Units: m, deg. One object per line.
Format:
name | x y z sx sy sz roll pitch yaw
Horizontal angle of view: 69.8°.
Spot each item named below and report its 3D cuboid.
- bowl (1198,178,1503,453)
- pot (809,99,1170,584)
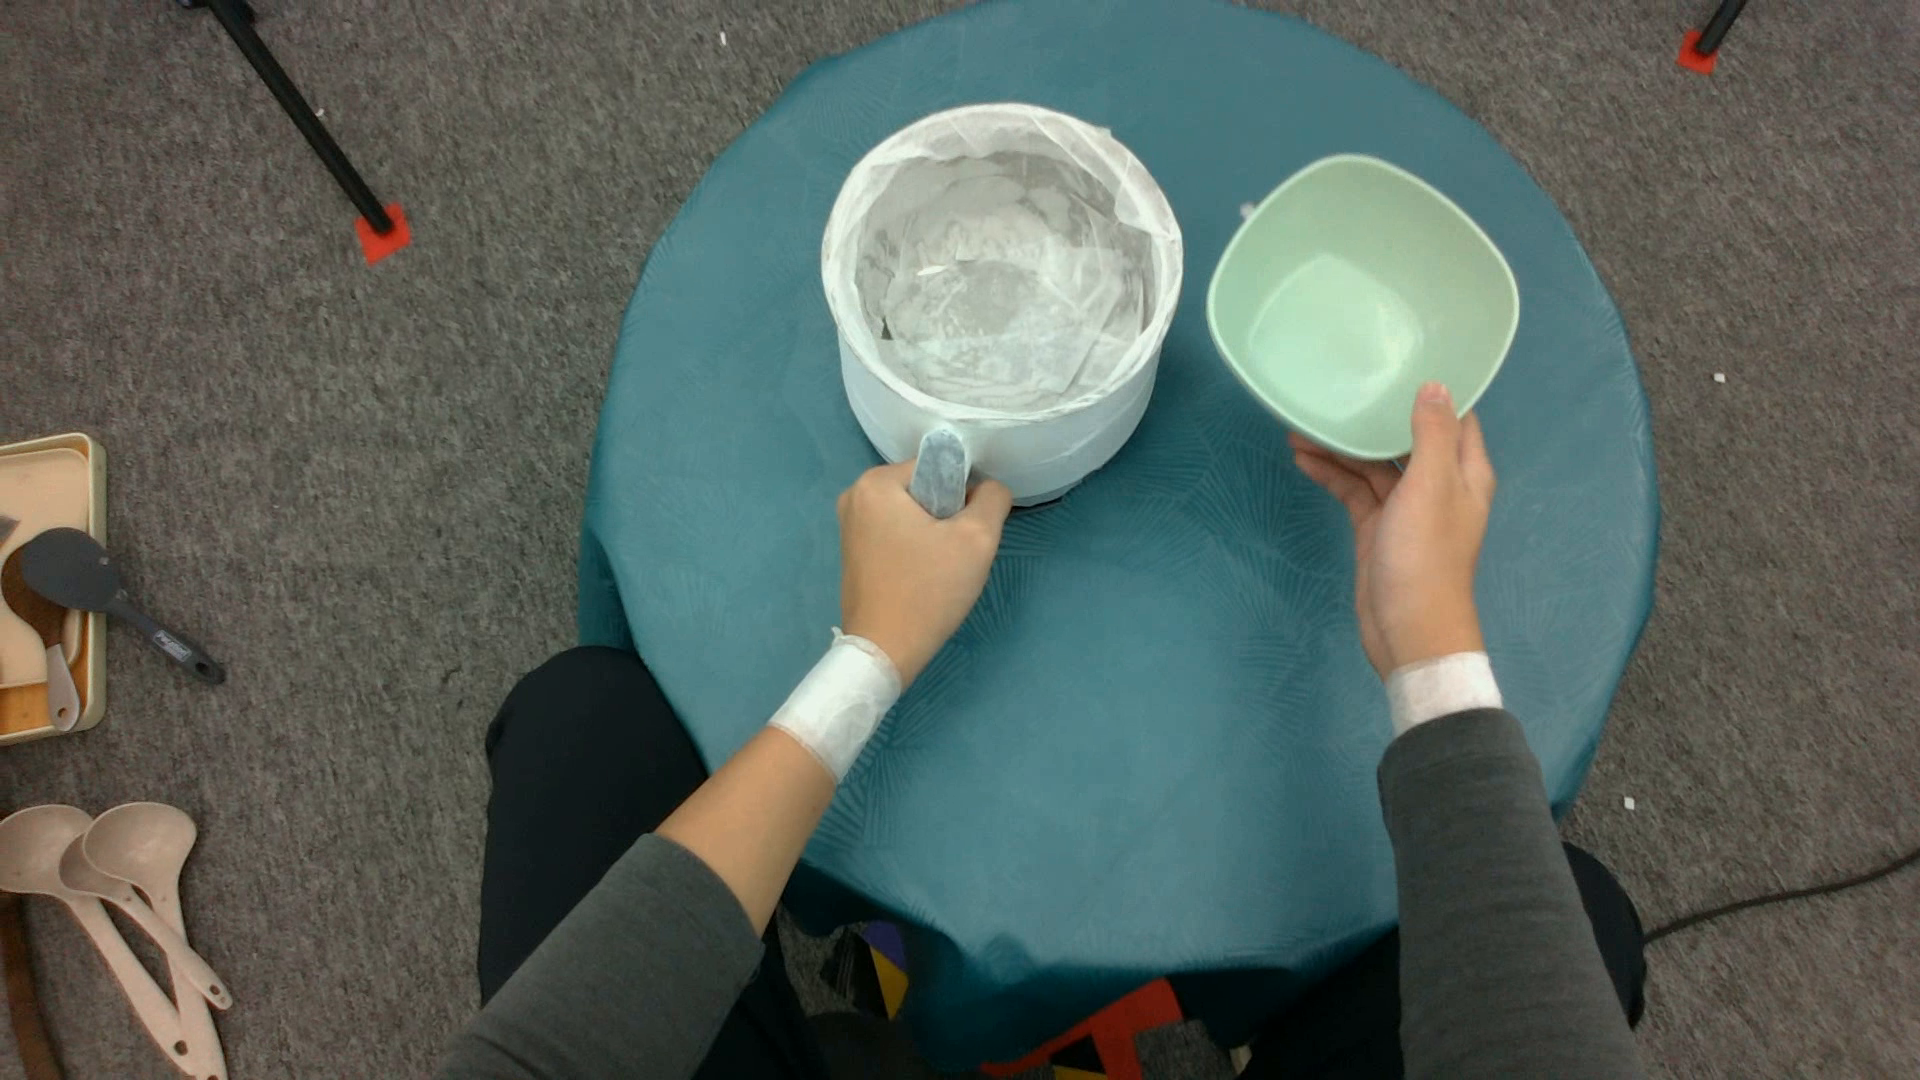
bowl | 0.192 -0.106 0.703 0.151 0.058 0.152 0 70 -1
pot | 0.007 -0.096 0.726 0.178 0.136 0.234 14 71 5
